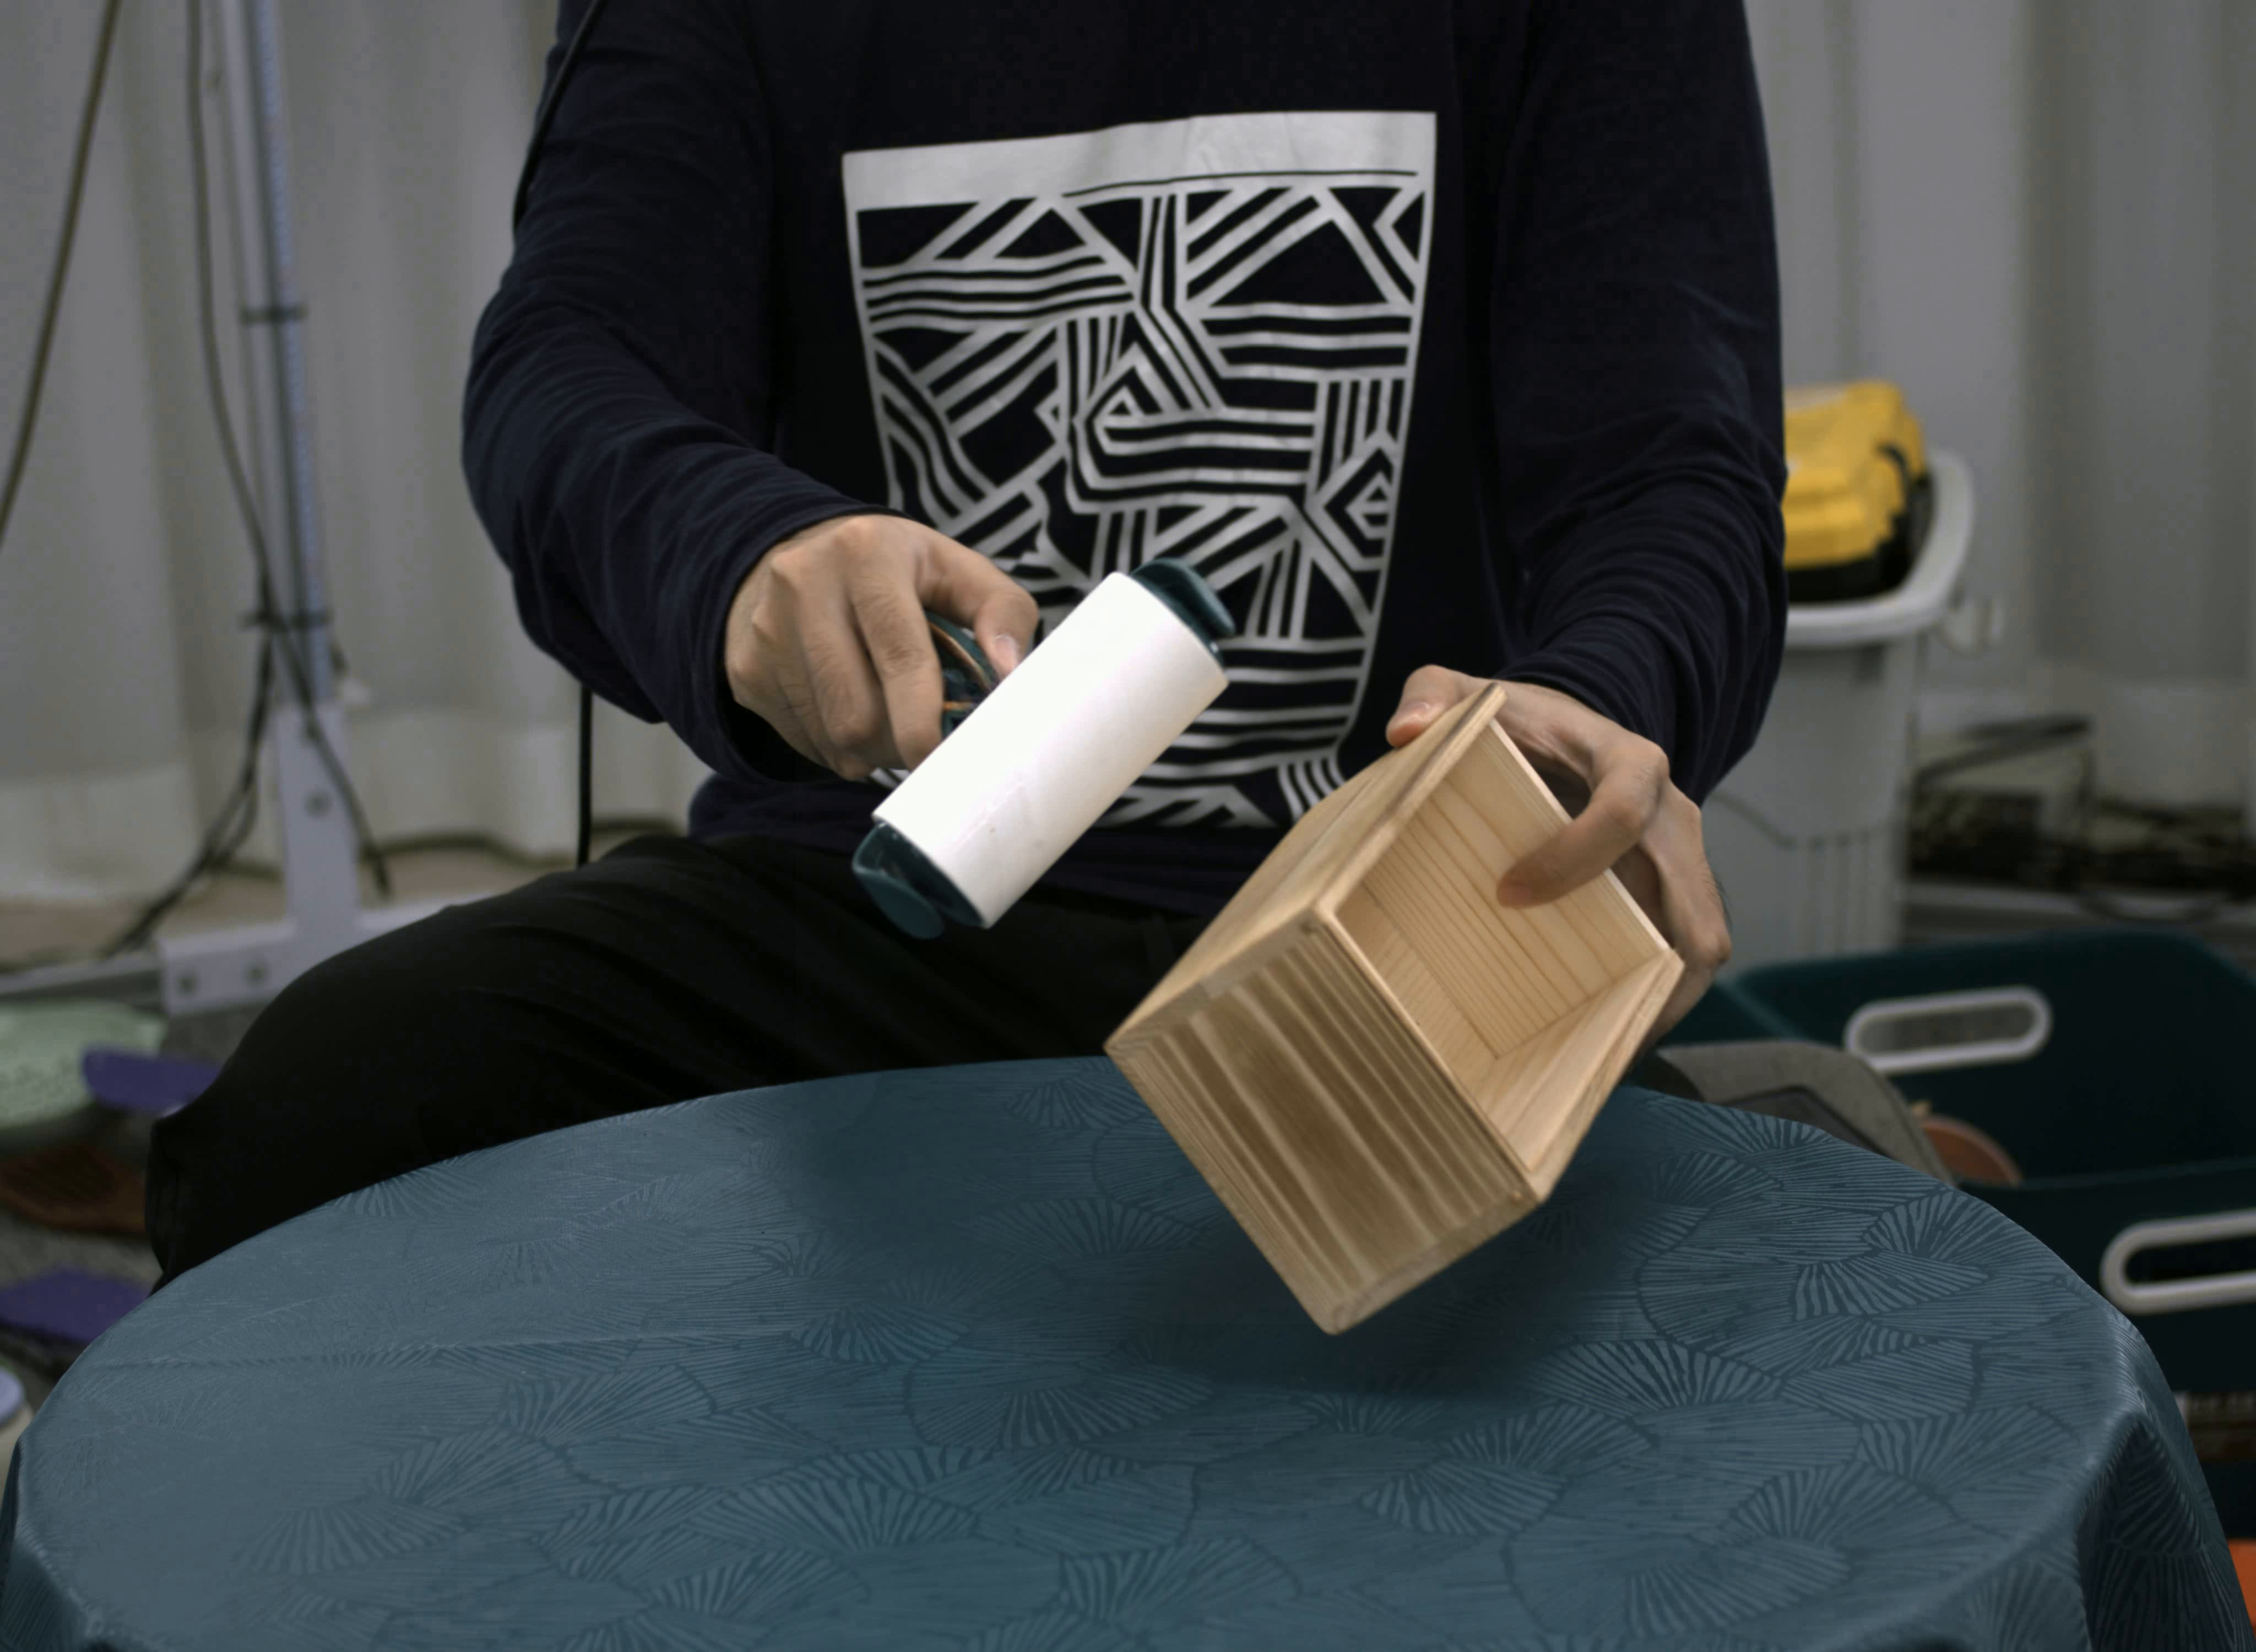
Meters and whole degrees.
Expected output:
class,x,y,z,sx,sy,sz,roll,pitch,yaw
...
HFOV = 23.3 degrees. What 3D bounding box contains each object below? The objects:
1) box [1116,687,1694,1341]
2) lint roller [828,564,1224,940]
class,x,y,z,sx,sy,sz,roll,pitch,yaw
box,0.085,0.051,1.604,0.080,0.107,0.212,-36,5,24
lint roller,-0.056,-0.041,1.630,0.134,0.048,0.182,-45,32,-9
